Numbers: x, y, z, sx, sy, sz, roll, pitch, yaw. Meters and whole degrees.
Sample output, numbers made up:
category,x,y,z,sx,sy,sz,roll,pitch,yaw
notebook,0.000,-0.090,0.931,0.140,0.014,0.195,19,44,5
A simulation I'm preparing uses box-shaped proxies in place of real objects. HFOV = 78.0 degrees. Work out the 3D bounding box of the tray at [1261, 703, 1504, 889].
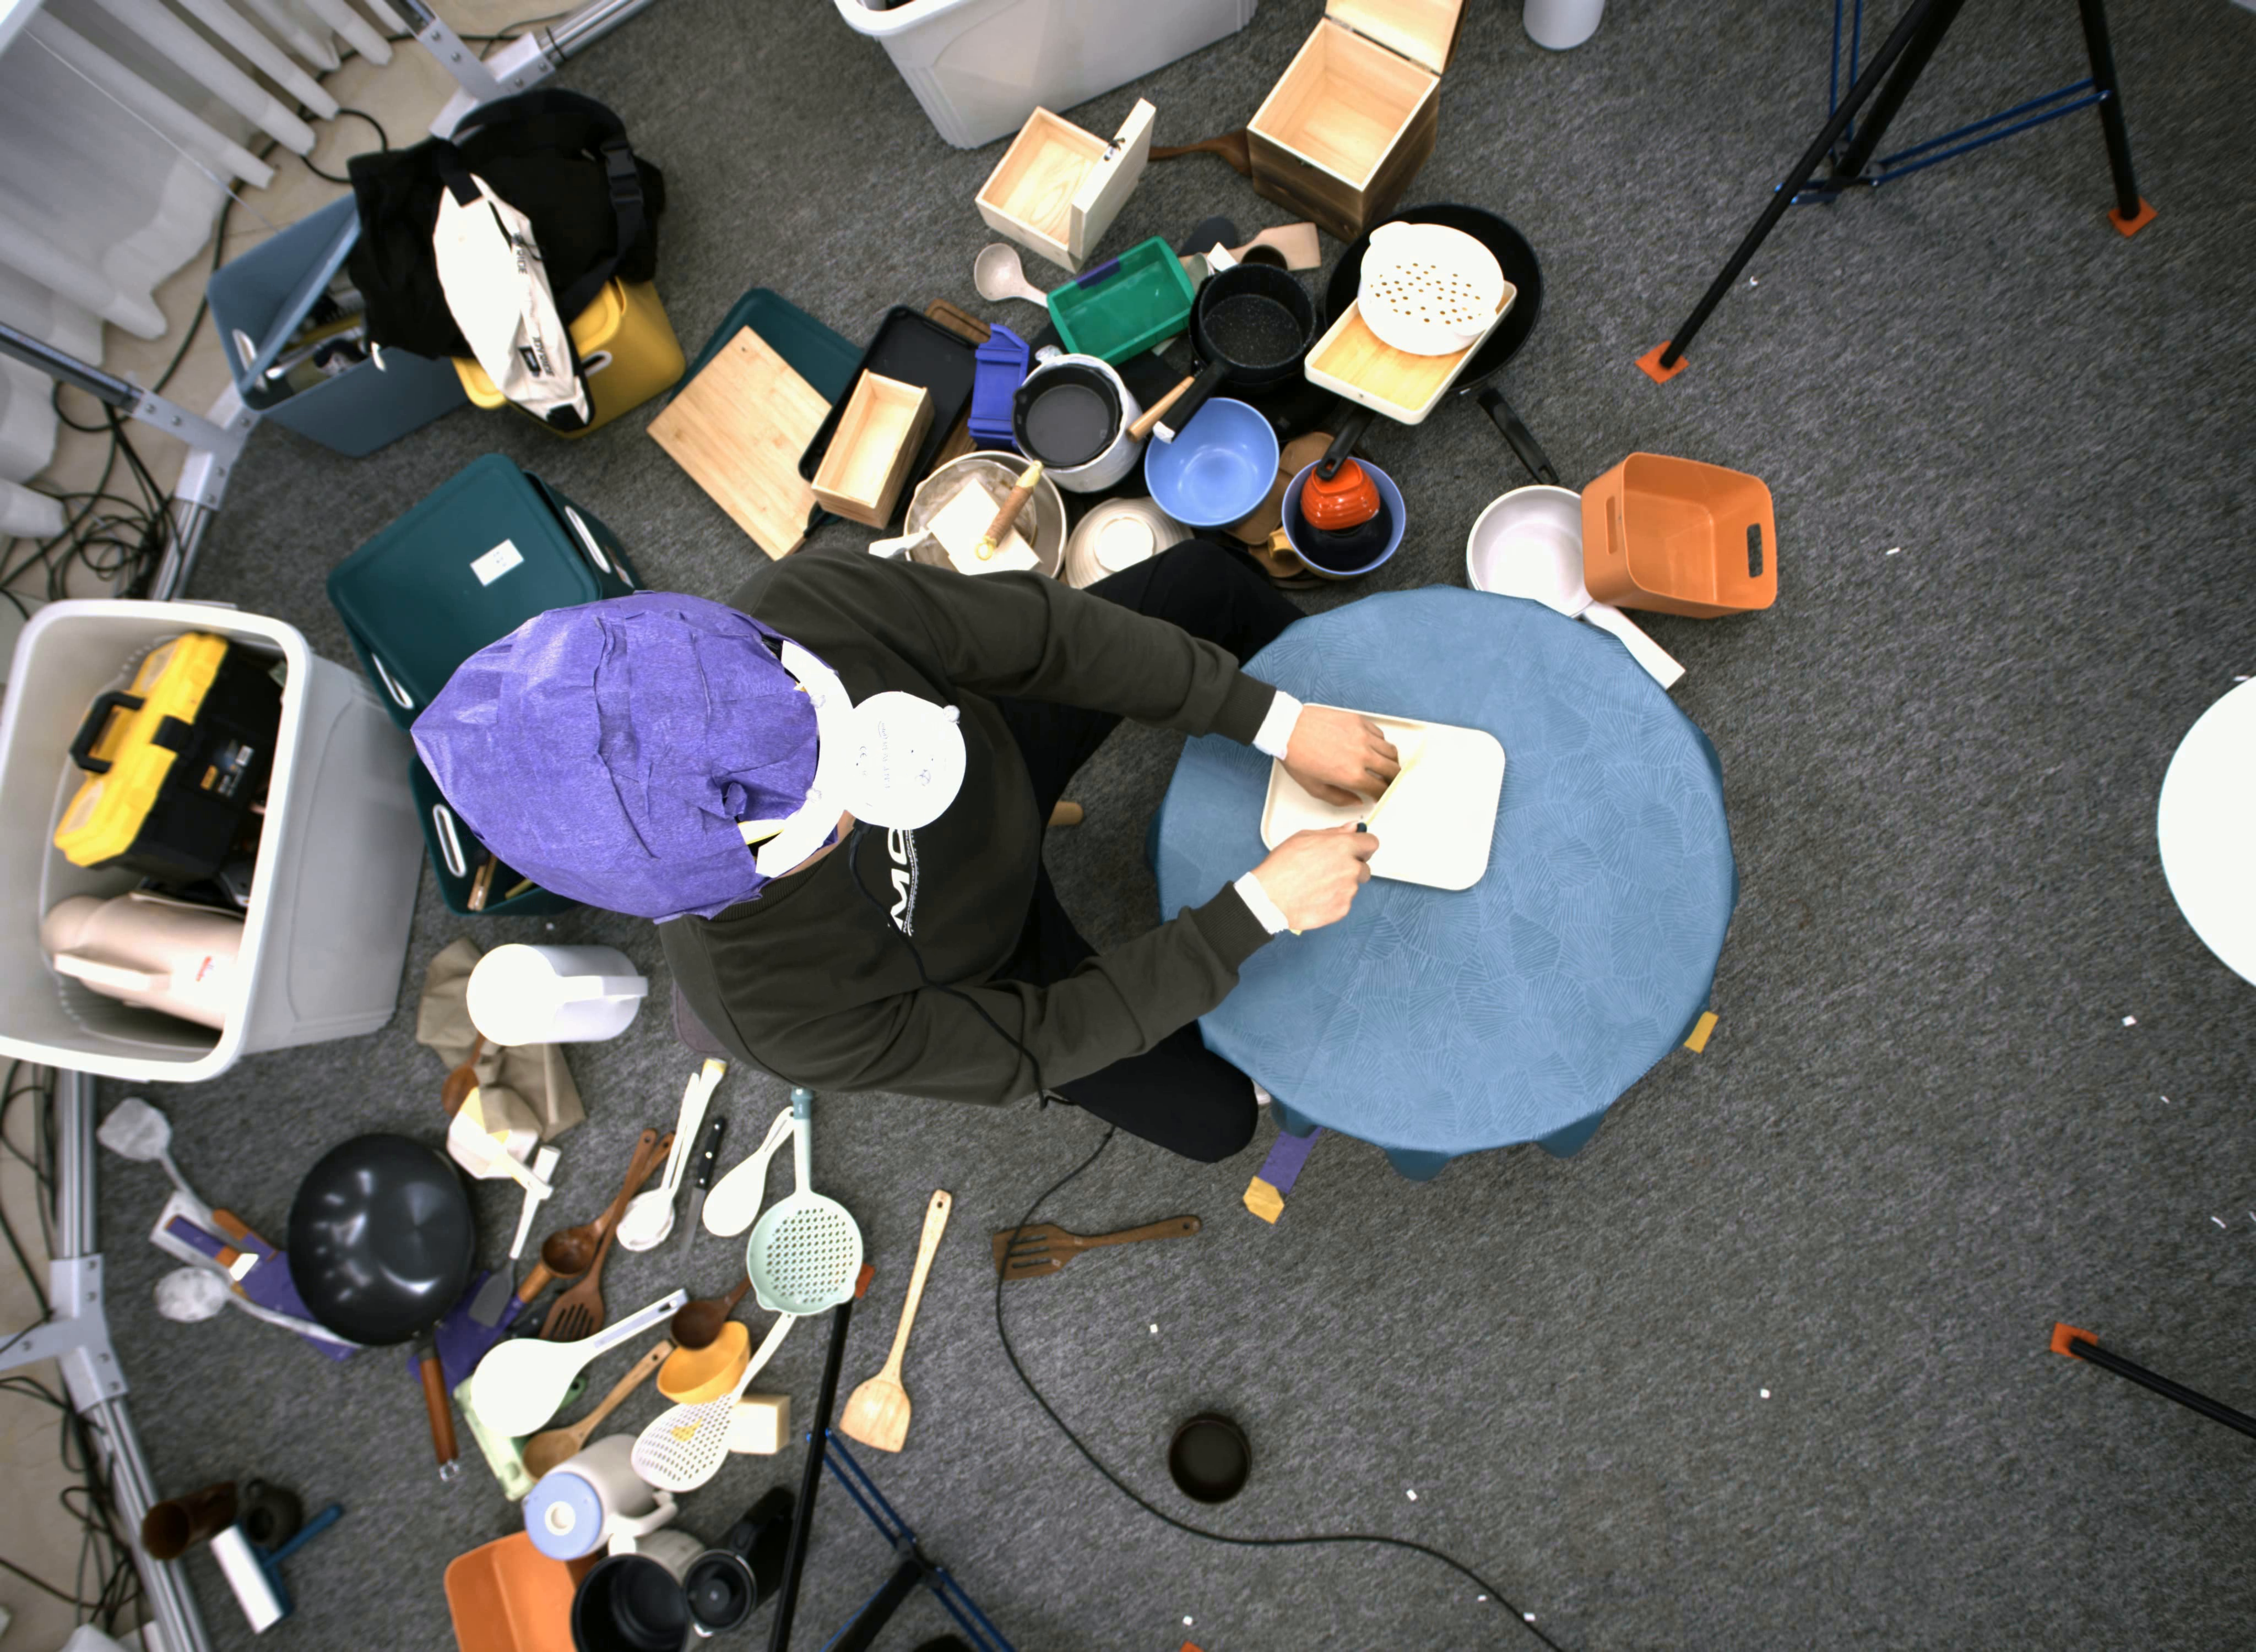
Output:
category,x,y,z,sx,sy,sz,roll,pitch,yaw
tray,0.268,-0.034,1.457,0.240,0.017,0.171,10,89,11

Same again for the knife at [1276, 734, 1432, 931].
category,x,y,z,sx,sy,sz,roll,pitch,yaw
knife,0.231,0.003,1.380,0.027,0.083,0.284,35,65,14
